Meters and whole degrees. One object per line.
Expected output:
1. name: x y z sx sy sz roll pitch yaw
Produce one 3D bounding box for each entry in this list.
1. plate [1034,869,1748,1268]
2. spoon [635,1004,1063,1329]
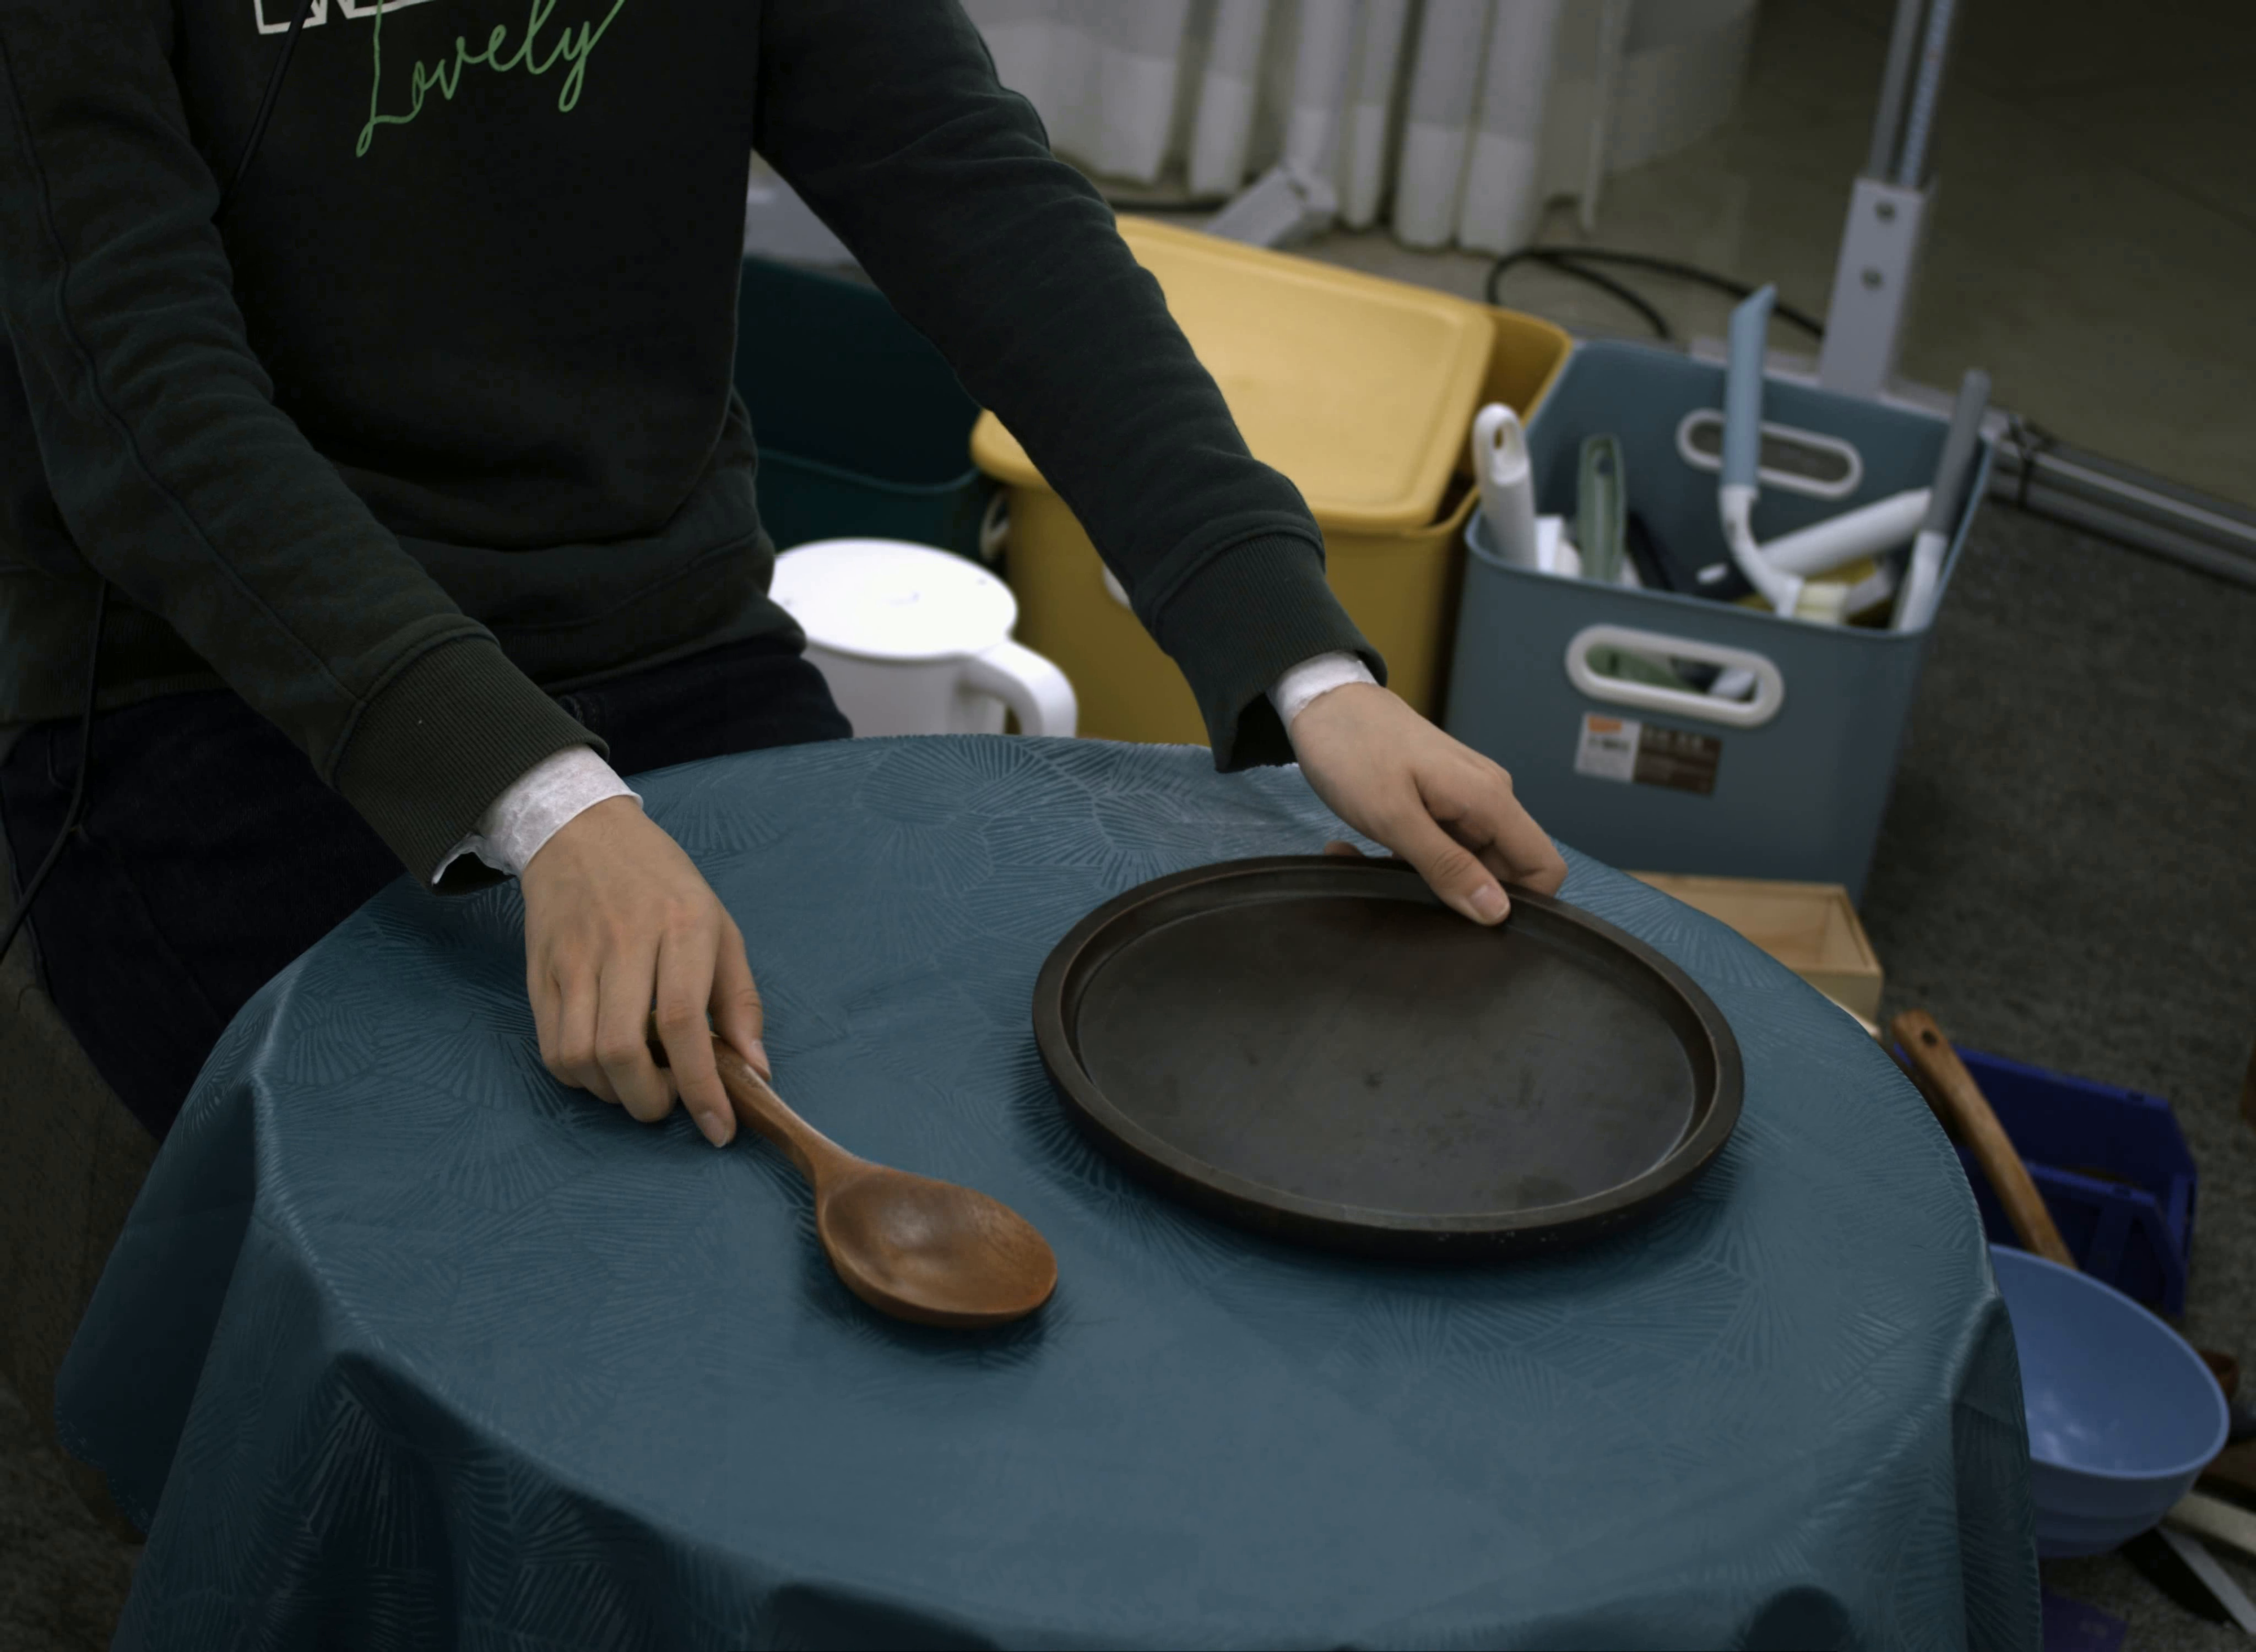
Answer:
1. plate: 0.092 0.083 1.872 0.254 0.029 0.256 5 29 -3
2. spoon: -0.100 0.114 1.776 0.075 0.017 0.218 -13 34 -35
